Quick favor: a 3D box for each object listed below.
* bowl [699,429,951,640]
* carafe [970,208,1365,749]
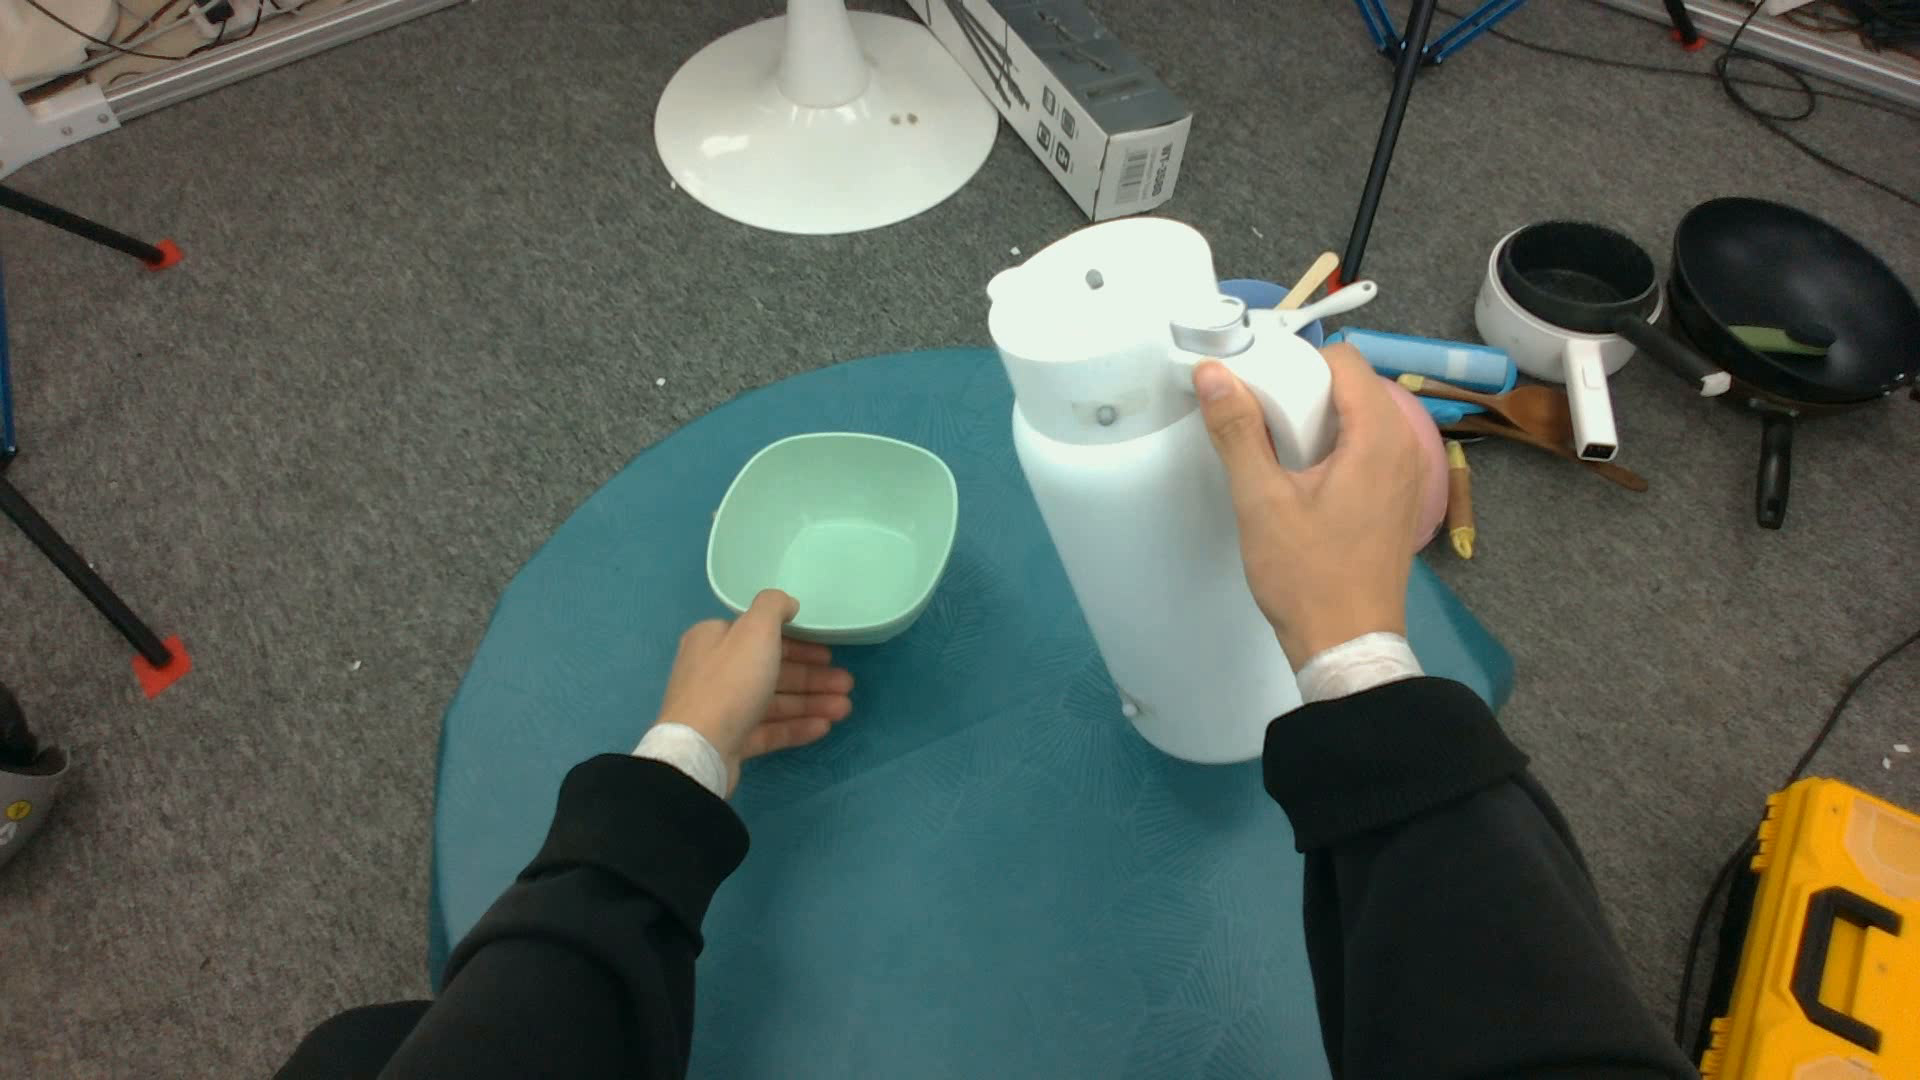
[{"bbox_3d":[-0.074,0.006,0.794,0.151,0.058,0.152,-2,53,3],"label":"bowl"},{"bbox_3d":[0.112,-0.018,0.660,0.172,0.268,0.124,19,55,42],"label":"carafe"}]
